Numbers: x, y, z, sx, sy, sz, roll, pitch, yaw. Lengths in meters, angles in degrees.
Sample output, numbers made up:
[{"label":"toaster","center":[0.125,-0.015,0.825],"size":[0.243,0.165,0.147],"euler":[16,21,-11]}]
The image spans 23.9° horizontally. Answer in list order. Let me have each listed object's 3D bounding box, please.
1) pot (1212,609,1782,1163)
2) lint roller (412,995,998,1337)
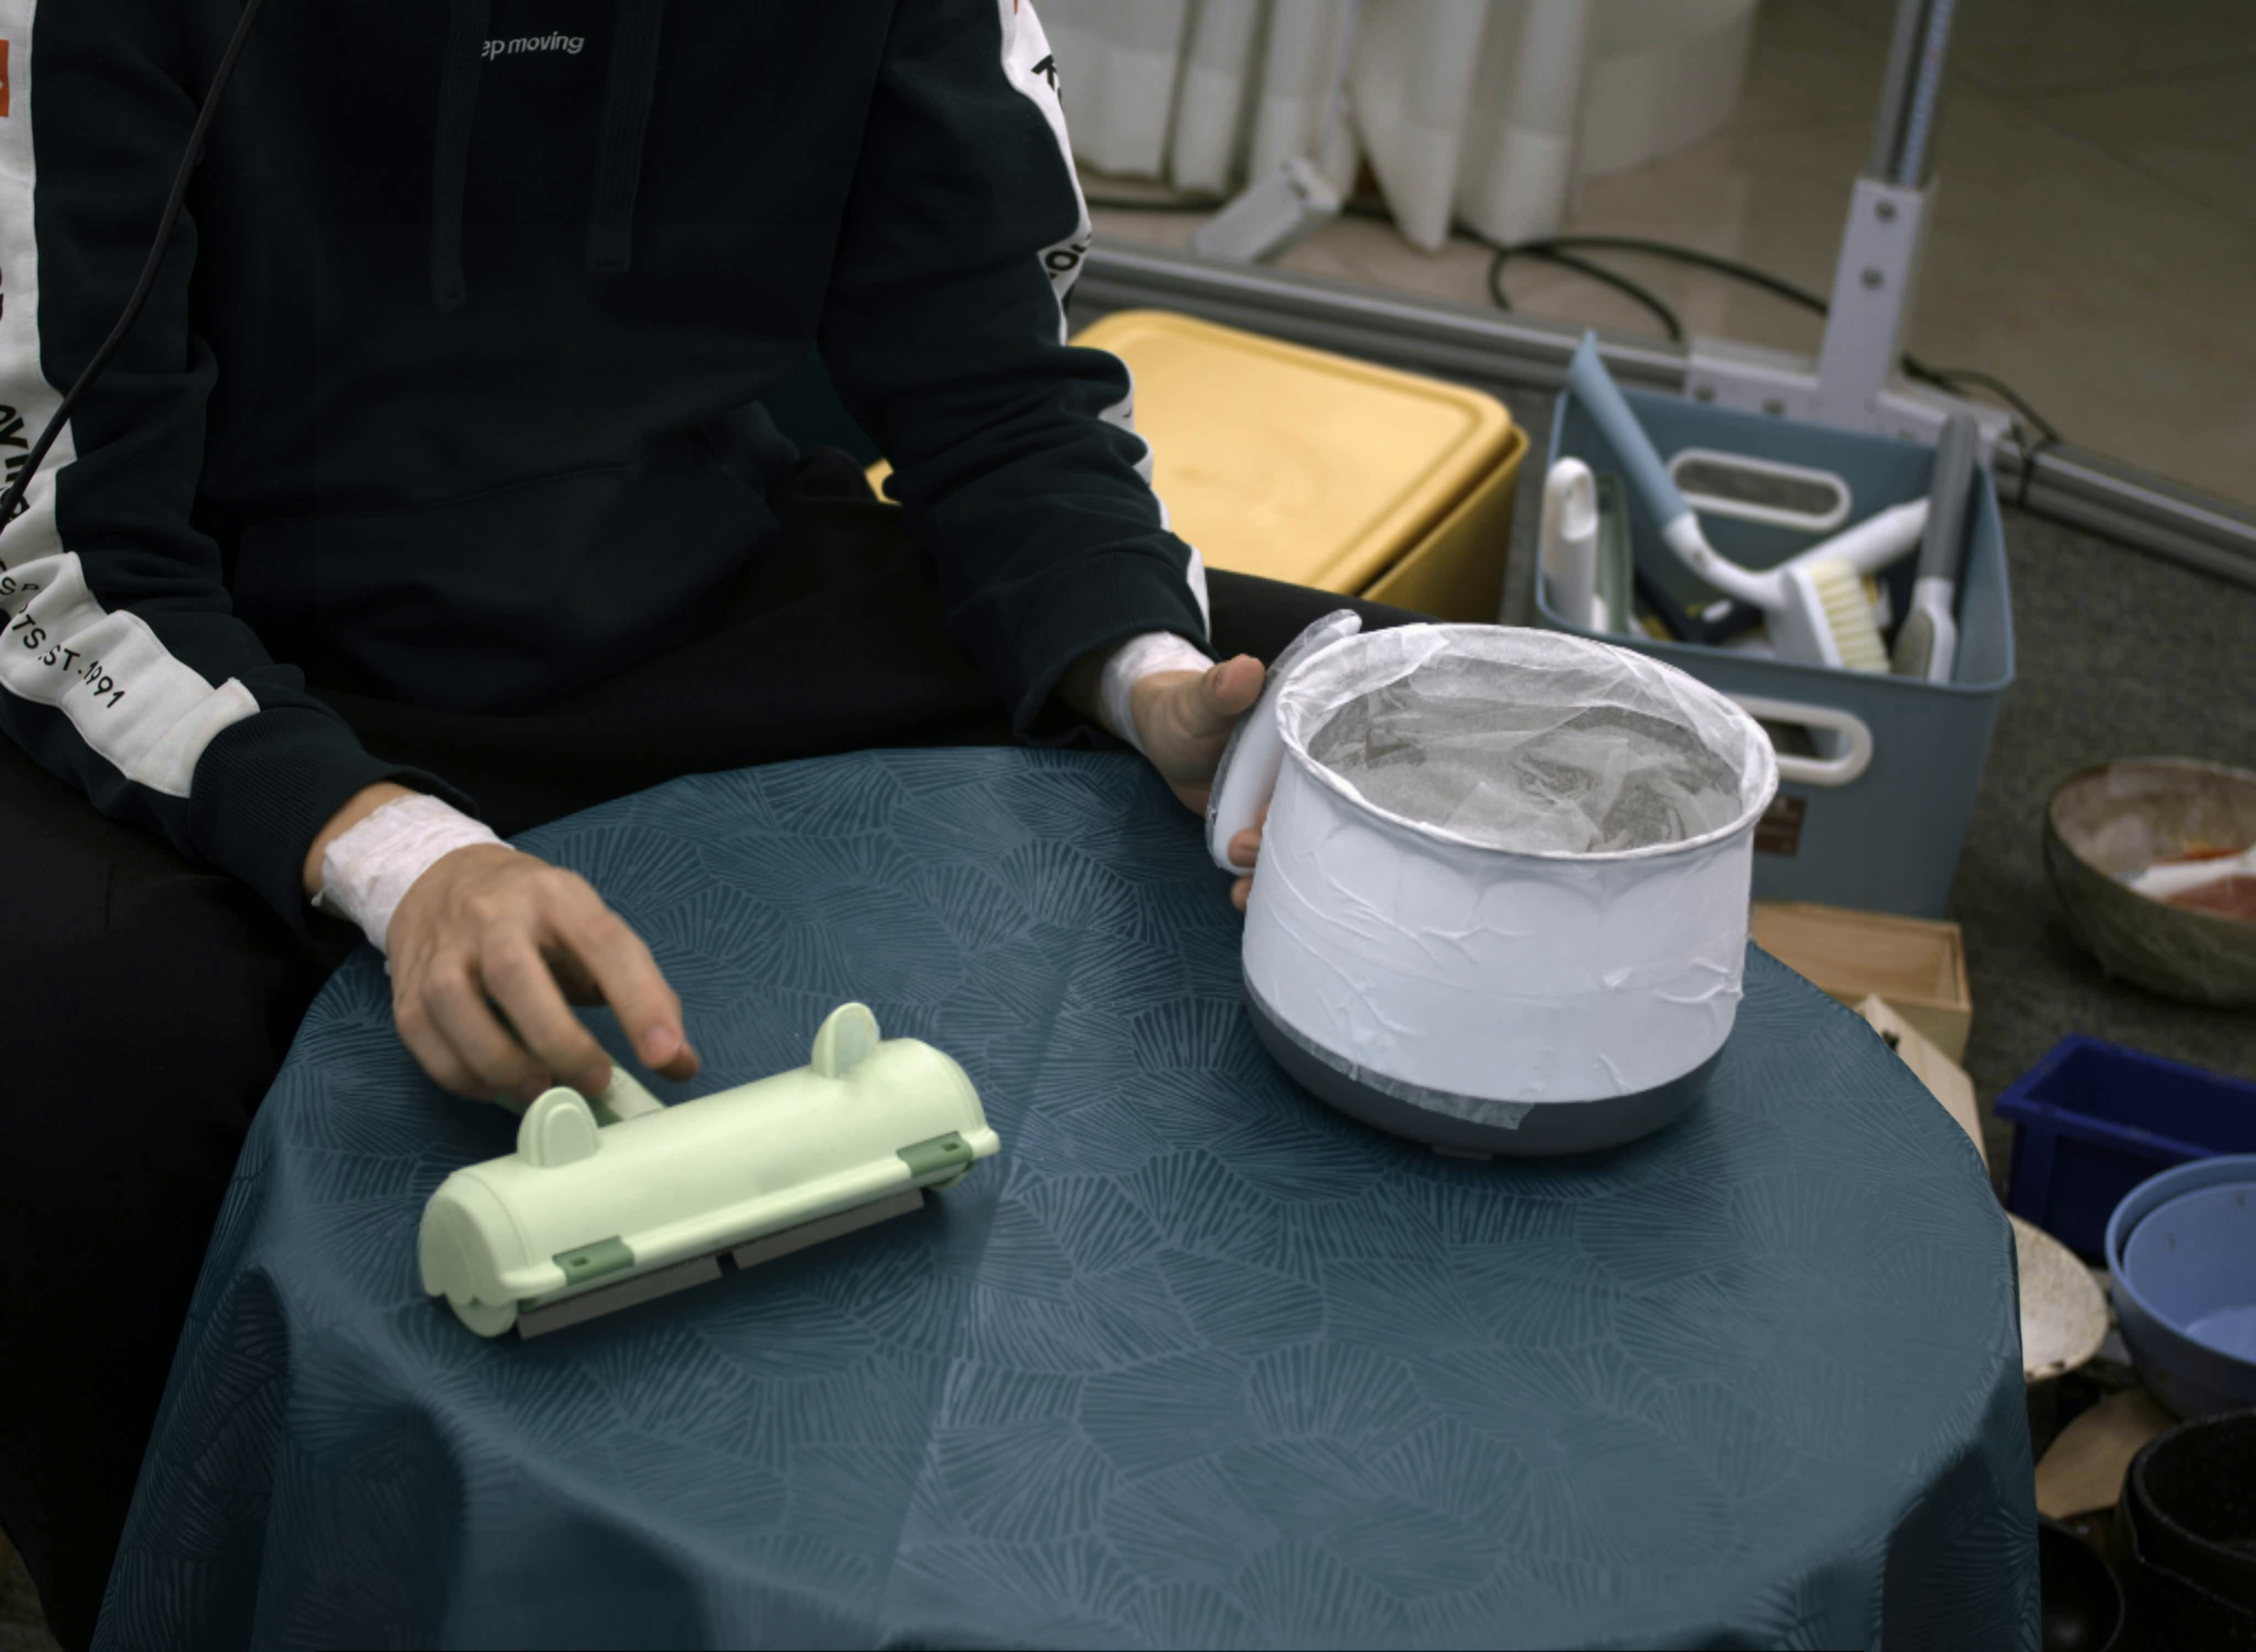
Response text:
[{"label":"pot","center":[0.115,0.014,1.891],"size":[0.177,0.136,0.236],"euler":[-15,34,-37]},{"label":"lint roller","center":[-0.170,0.083,1.758],"size":[0.197,0.082,0.185],"euler":[-15,39,-36]}]
